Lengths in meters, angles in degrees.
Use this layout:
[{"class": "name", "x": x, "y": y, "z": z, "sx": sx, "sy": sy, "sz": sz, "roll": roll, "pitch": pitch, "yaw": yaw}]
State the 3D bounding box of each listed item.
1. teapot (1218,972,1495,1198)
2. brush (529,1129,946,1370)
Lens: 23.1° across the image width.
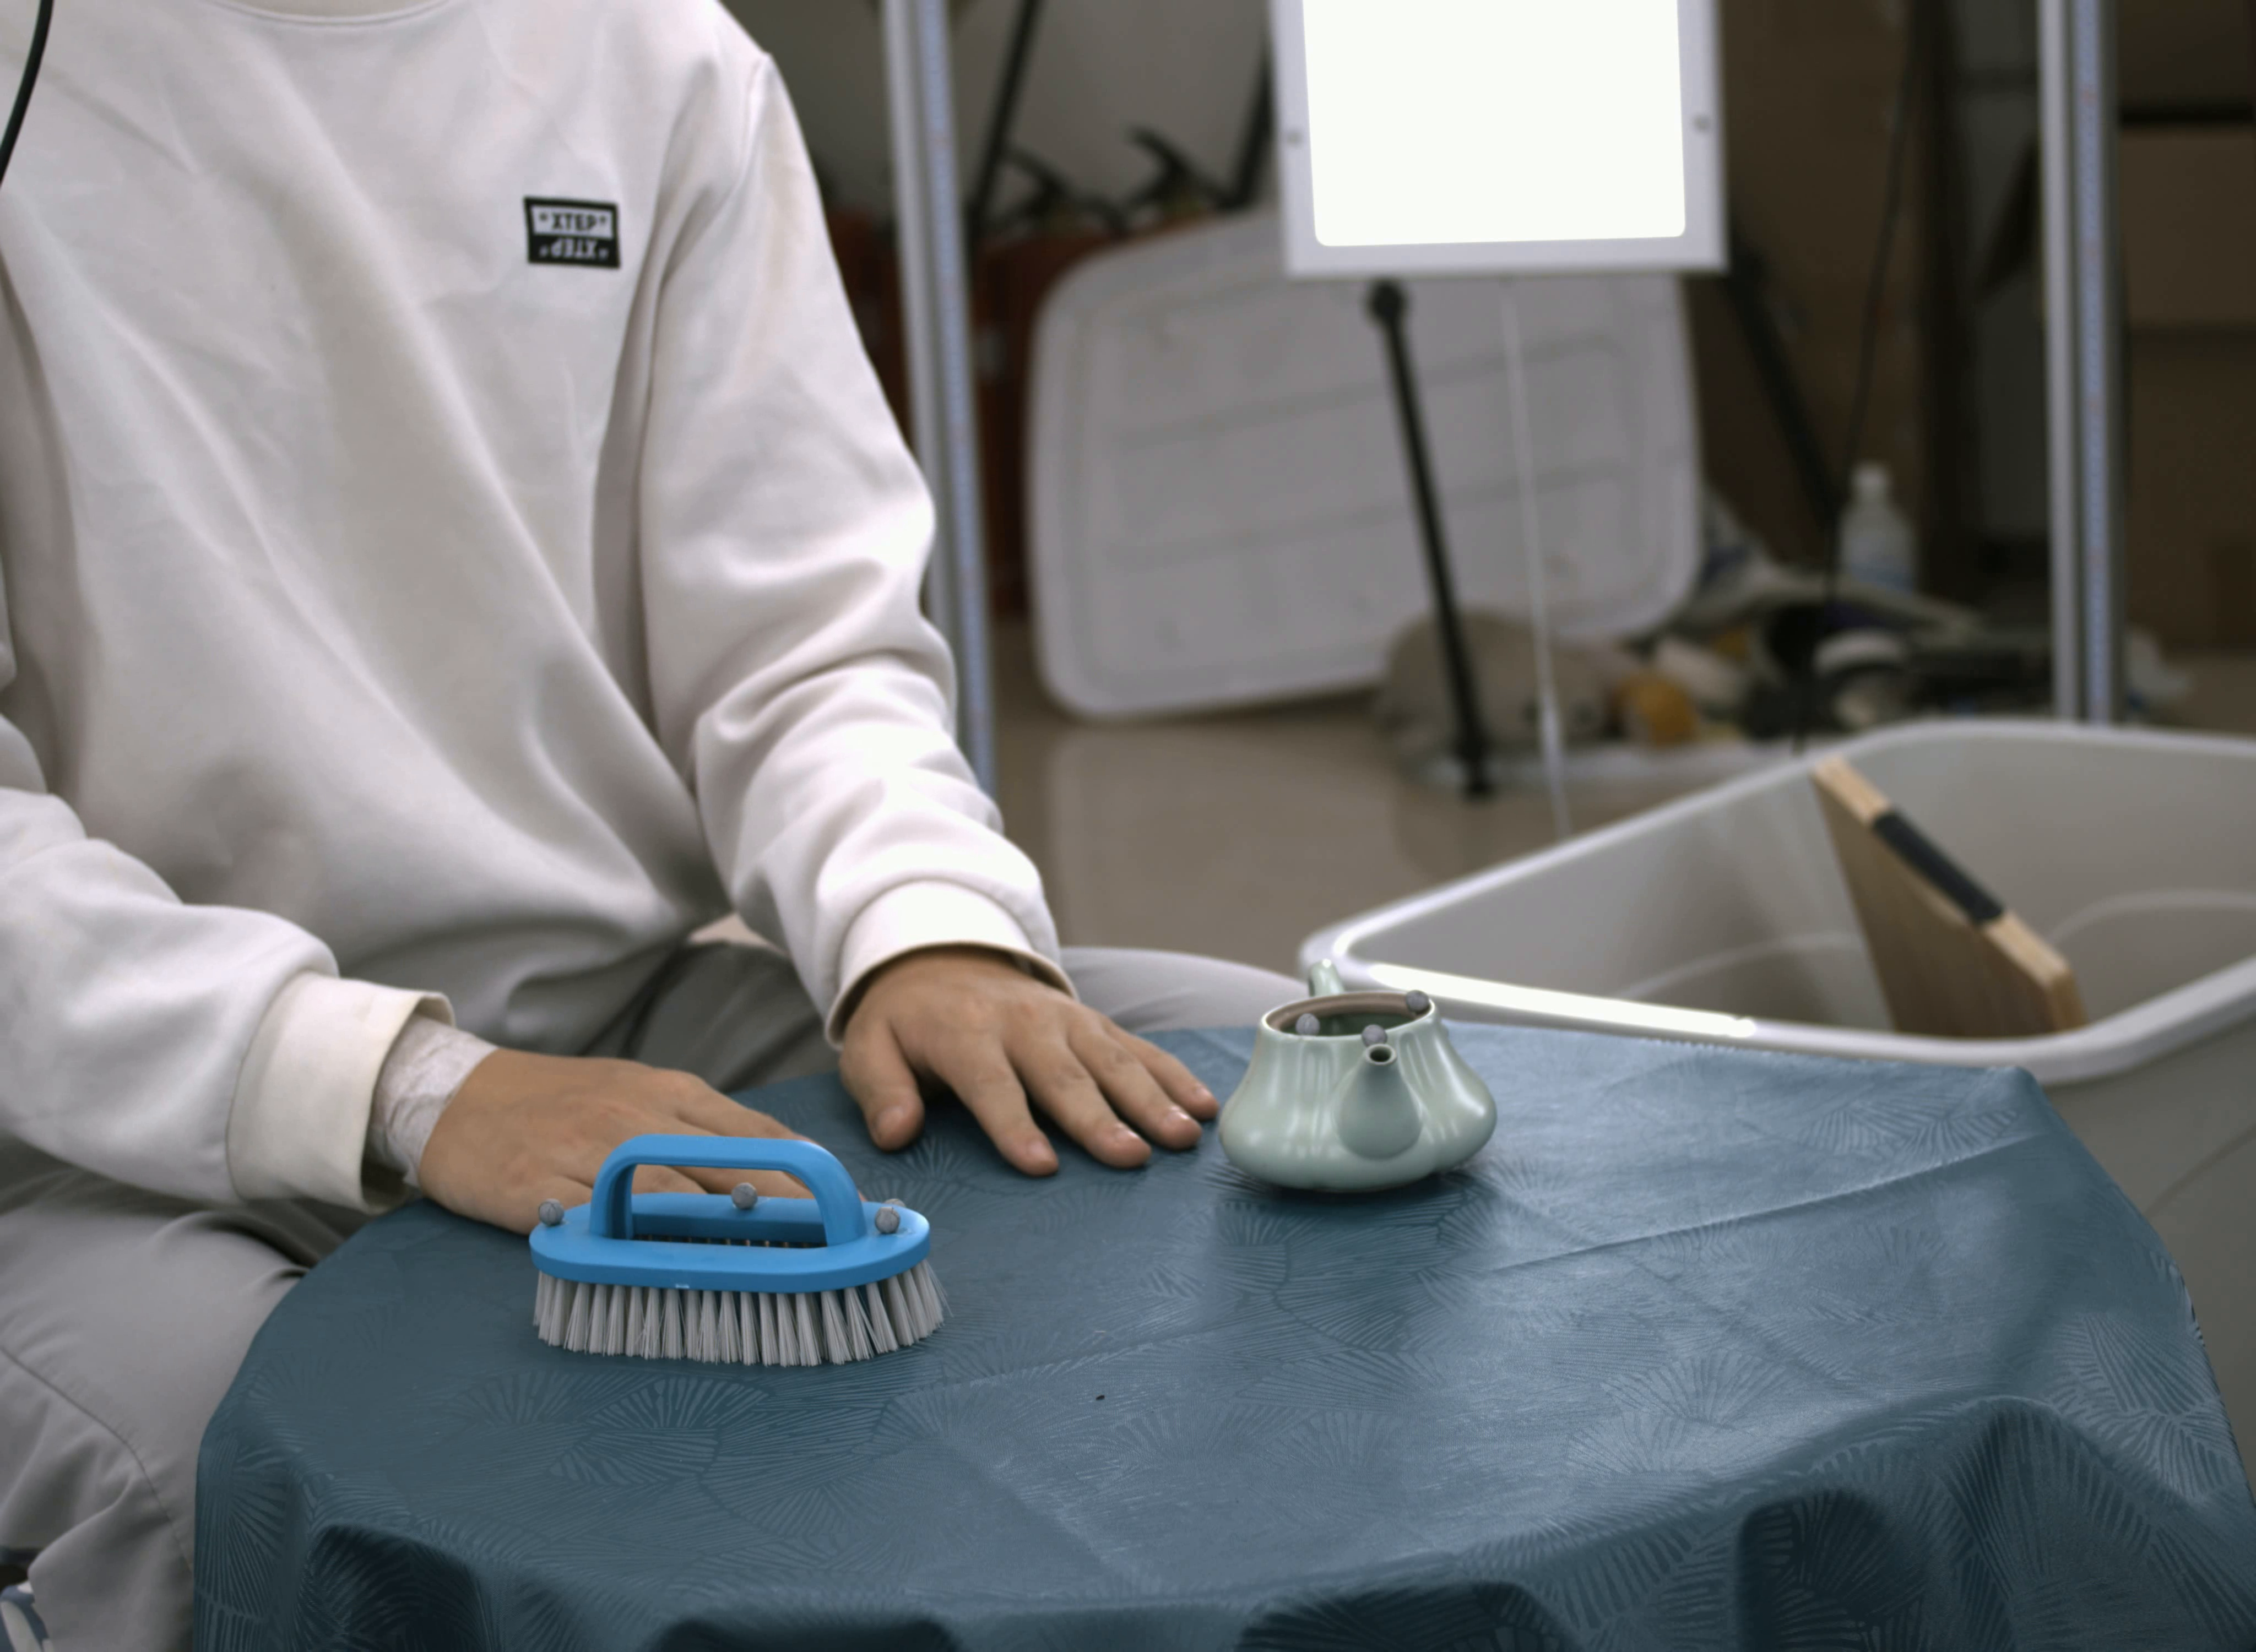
[{"class": "teapot", "x": 0.076, "y": 0.090, "z": 1.894, "sx": 0.095, "sy": 0.061, "sz": 0.137, "roll": -11, "pitch": 12, "yaw": -7}, {"class": "brush", "x": -0.131, "y": 0.131, "z": 1.792, "sx": 0.144, "sy": 0.064, "sz": 0.082, "roll": 1, "pitch": 19, "yaw": 25}]
